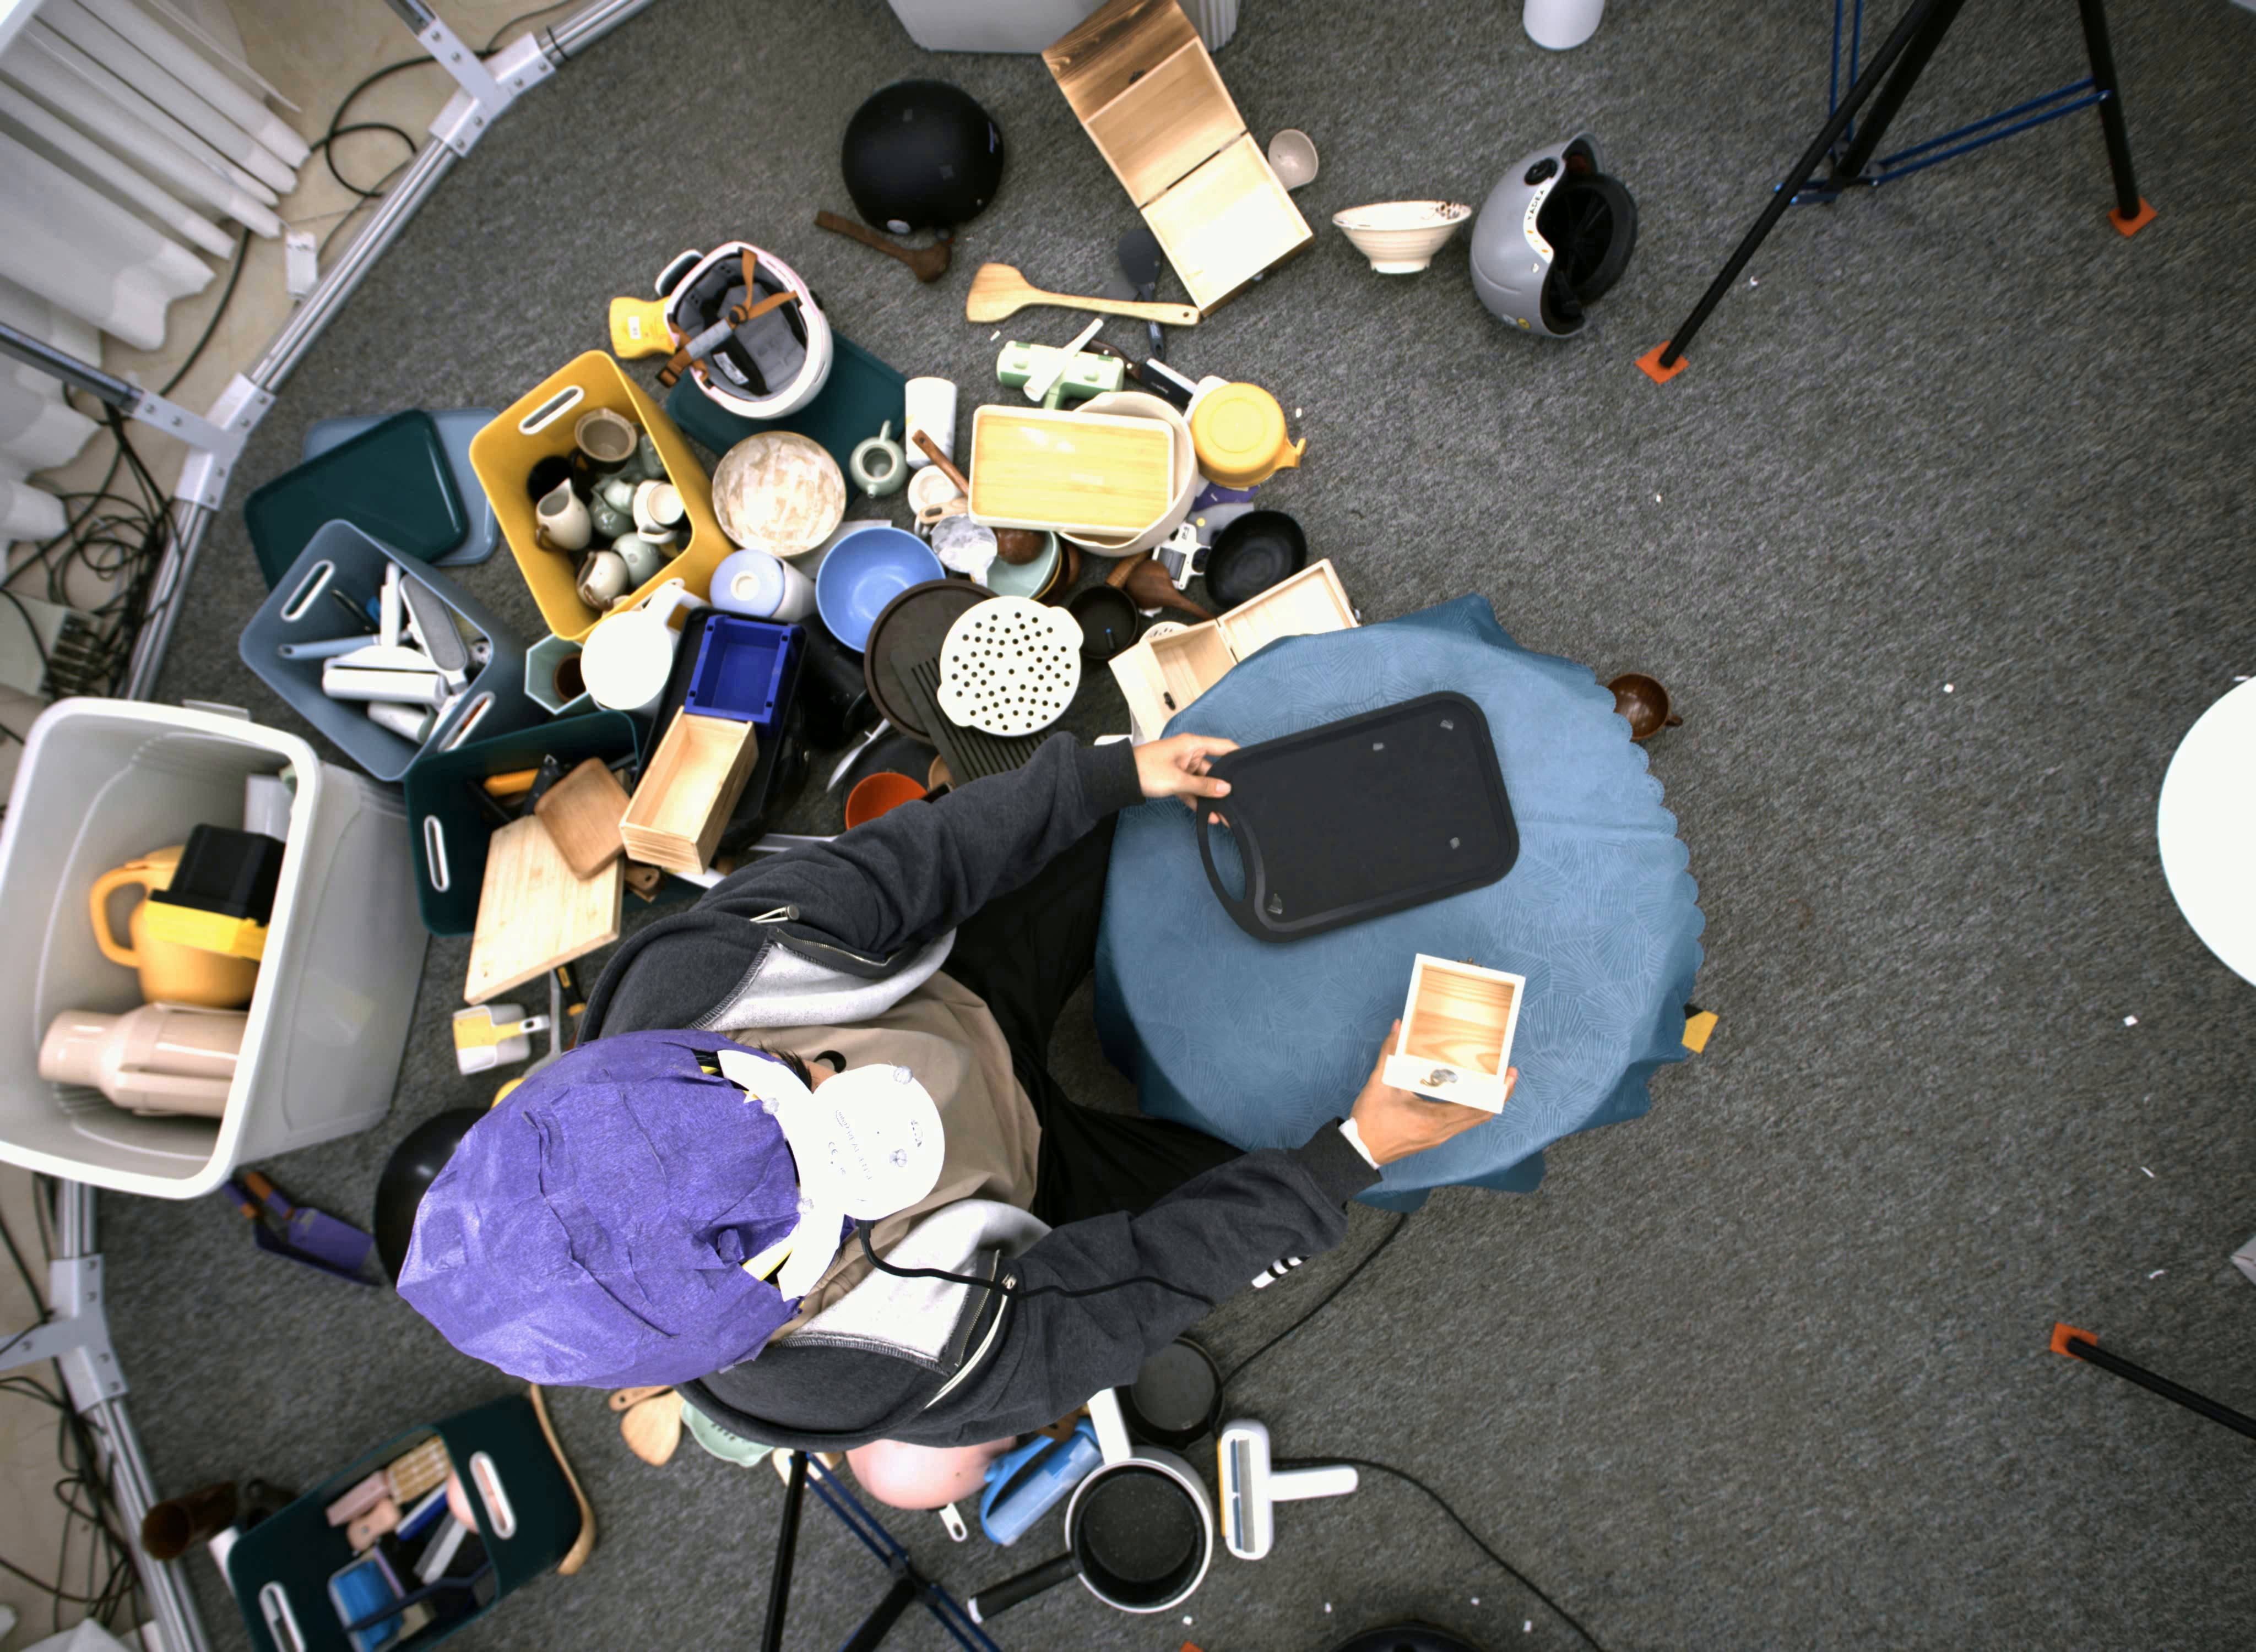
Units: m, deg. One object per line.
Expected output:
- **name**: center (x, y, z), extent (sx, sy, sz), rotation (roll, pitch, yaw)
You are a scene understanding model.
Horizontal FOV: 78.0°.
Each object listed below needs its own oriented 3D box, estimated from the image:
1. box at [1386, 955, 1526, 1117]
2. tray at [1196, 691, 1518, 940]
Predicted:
- **box**: center (0.303, 0.185, 1.263), extent (0.103, 0.185, 0.133), rotation (11, 87, 15)
- **tray**: center (0.234, -0.008, 1.437), extent (0.326, 0.010, 0.211), rotation (-15, 94, 4)
